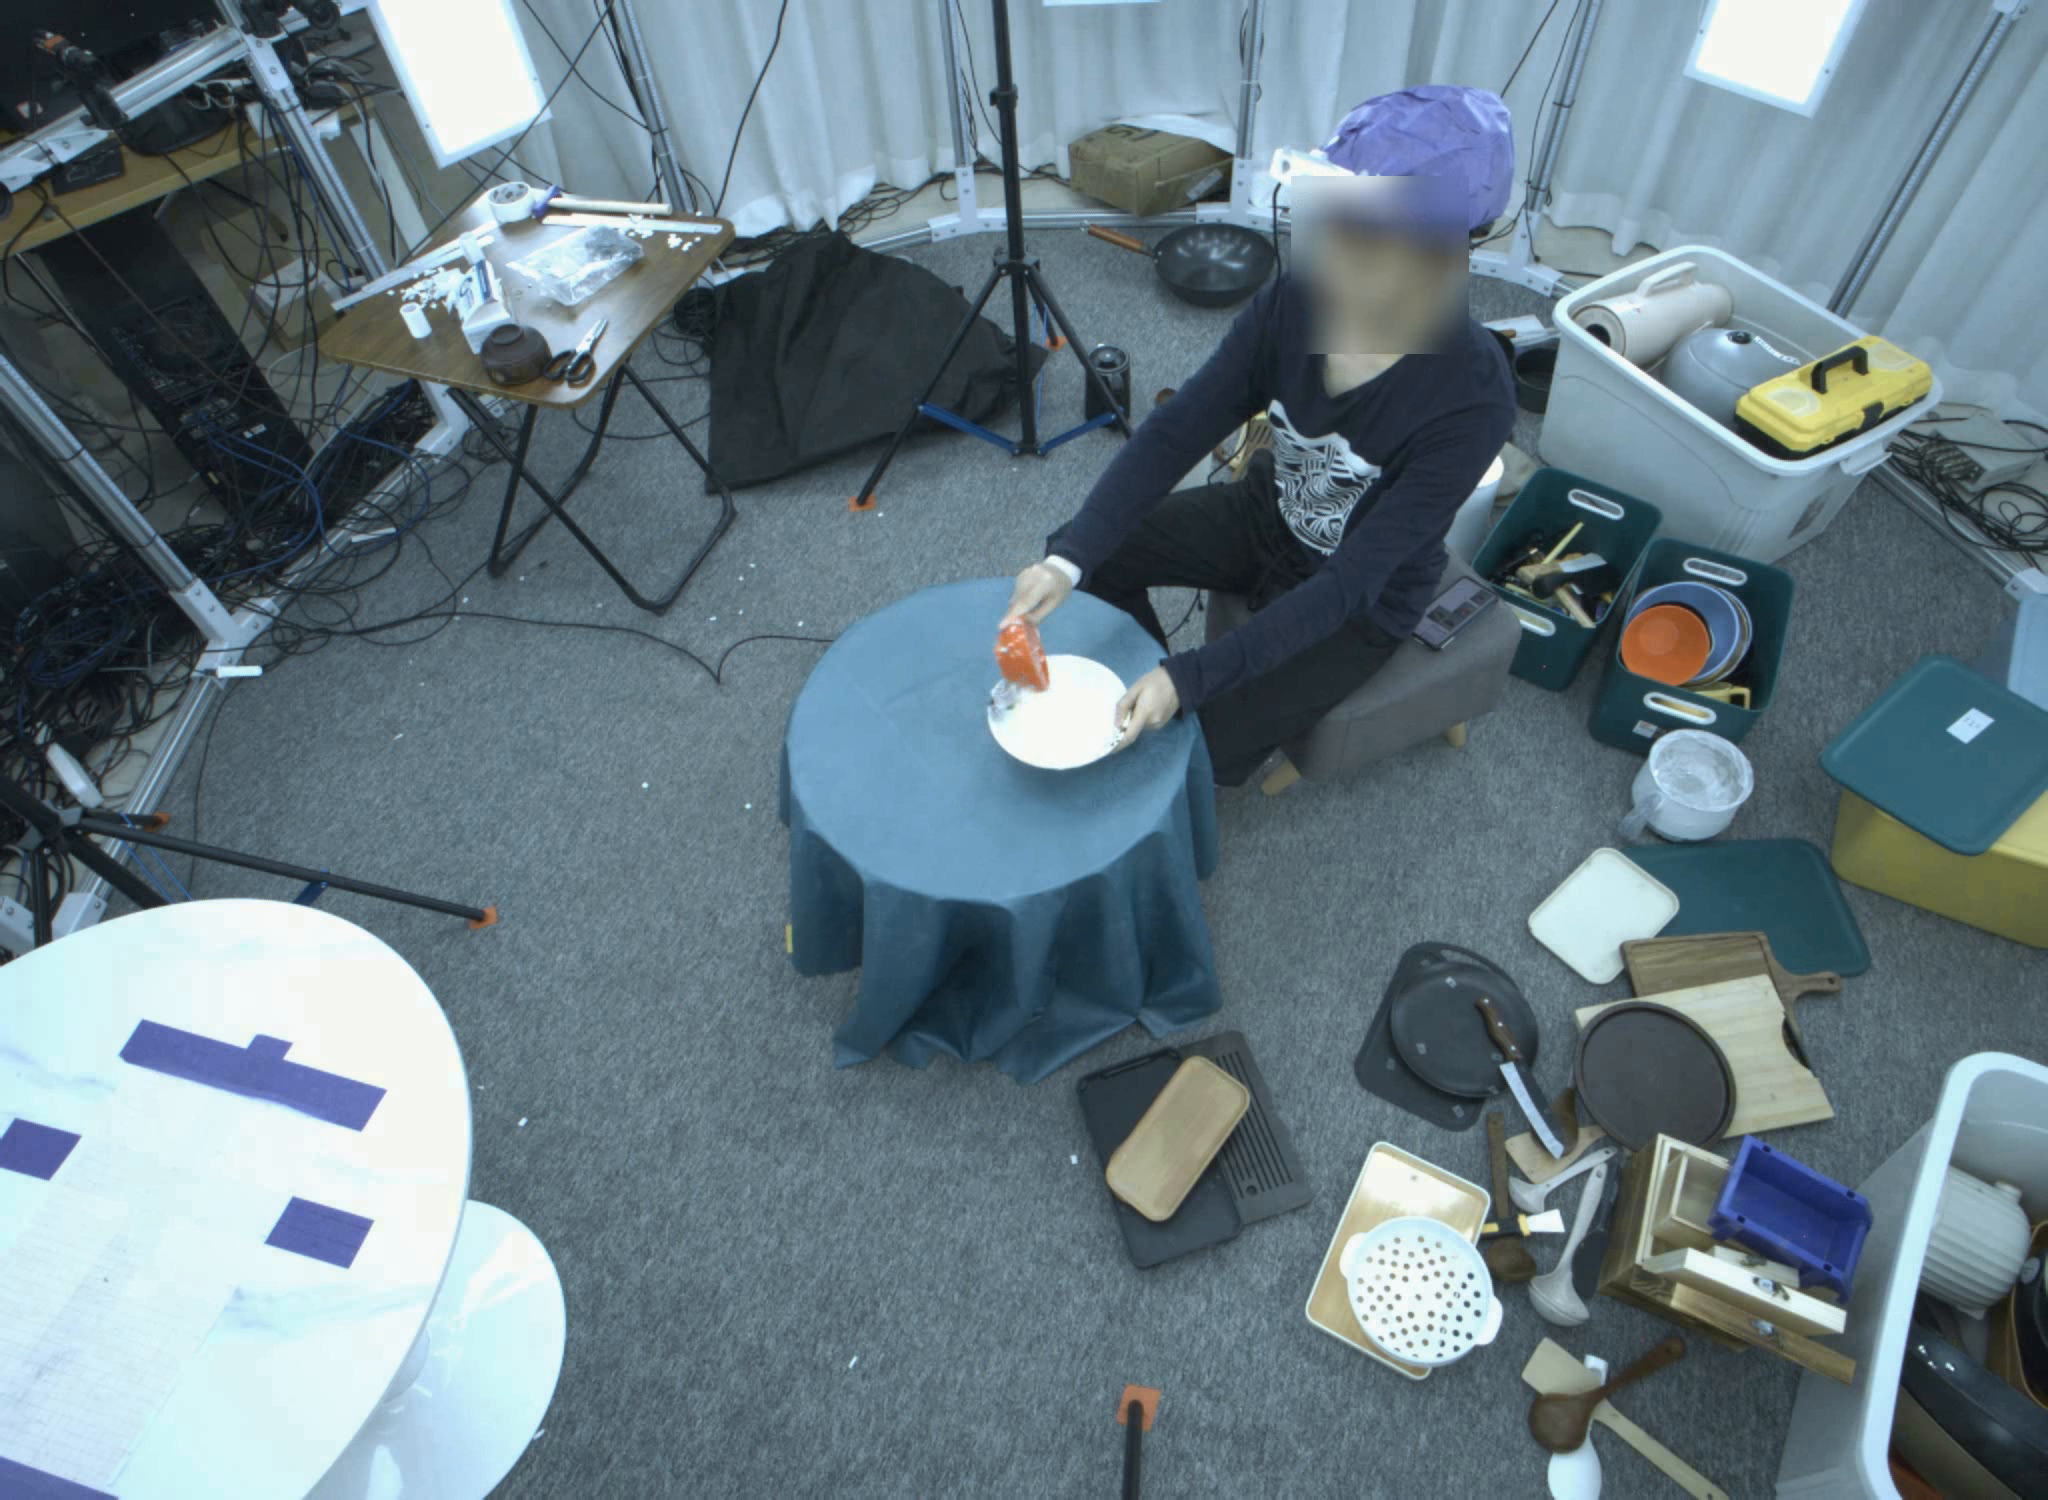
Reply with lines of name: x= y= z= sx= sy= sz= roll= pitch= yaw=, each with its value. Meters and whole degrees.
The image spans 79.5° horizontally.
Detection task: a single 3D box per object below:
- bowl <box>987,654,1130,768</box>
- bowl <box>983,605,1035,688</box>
bowl: x=0.050 y=-0.037 z=1.774 sx=0.204 sy=0.079 sz=0.202 roll=0 pitch=55 yaw=1
bowl: x=-0.023 y=-0.139 z=1.700 sx=0.051 sy=0.121 sz=0.117 roll=-13 pitch=54 yaw=9
